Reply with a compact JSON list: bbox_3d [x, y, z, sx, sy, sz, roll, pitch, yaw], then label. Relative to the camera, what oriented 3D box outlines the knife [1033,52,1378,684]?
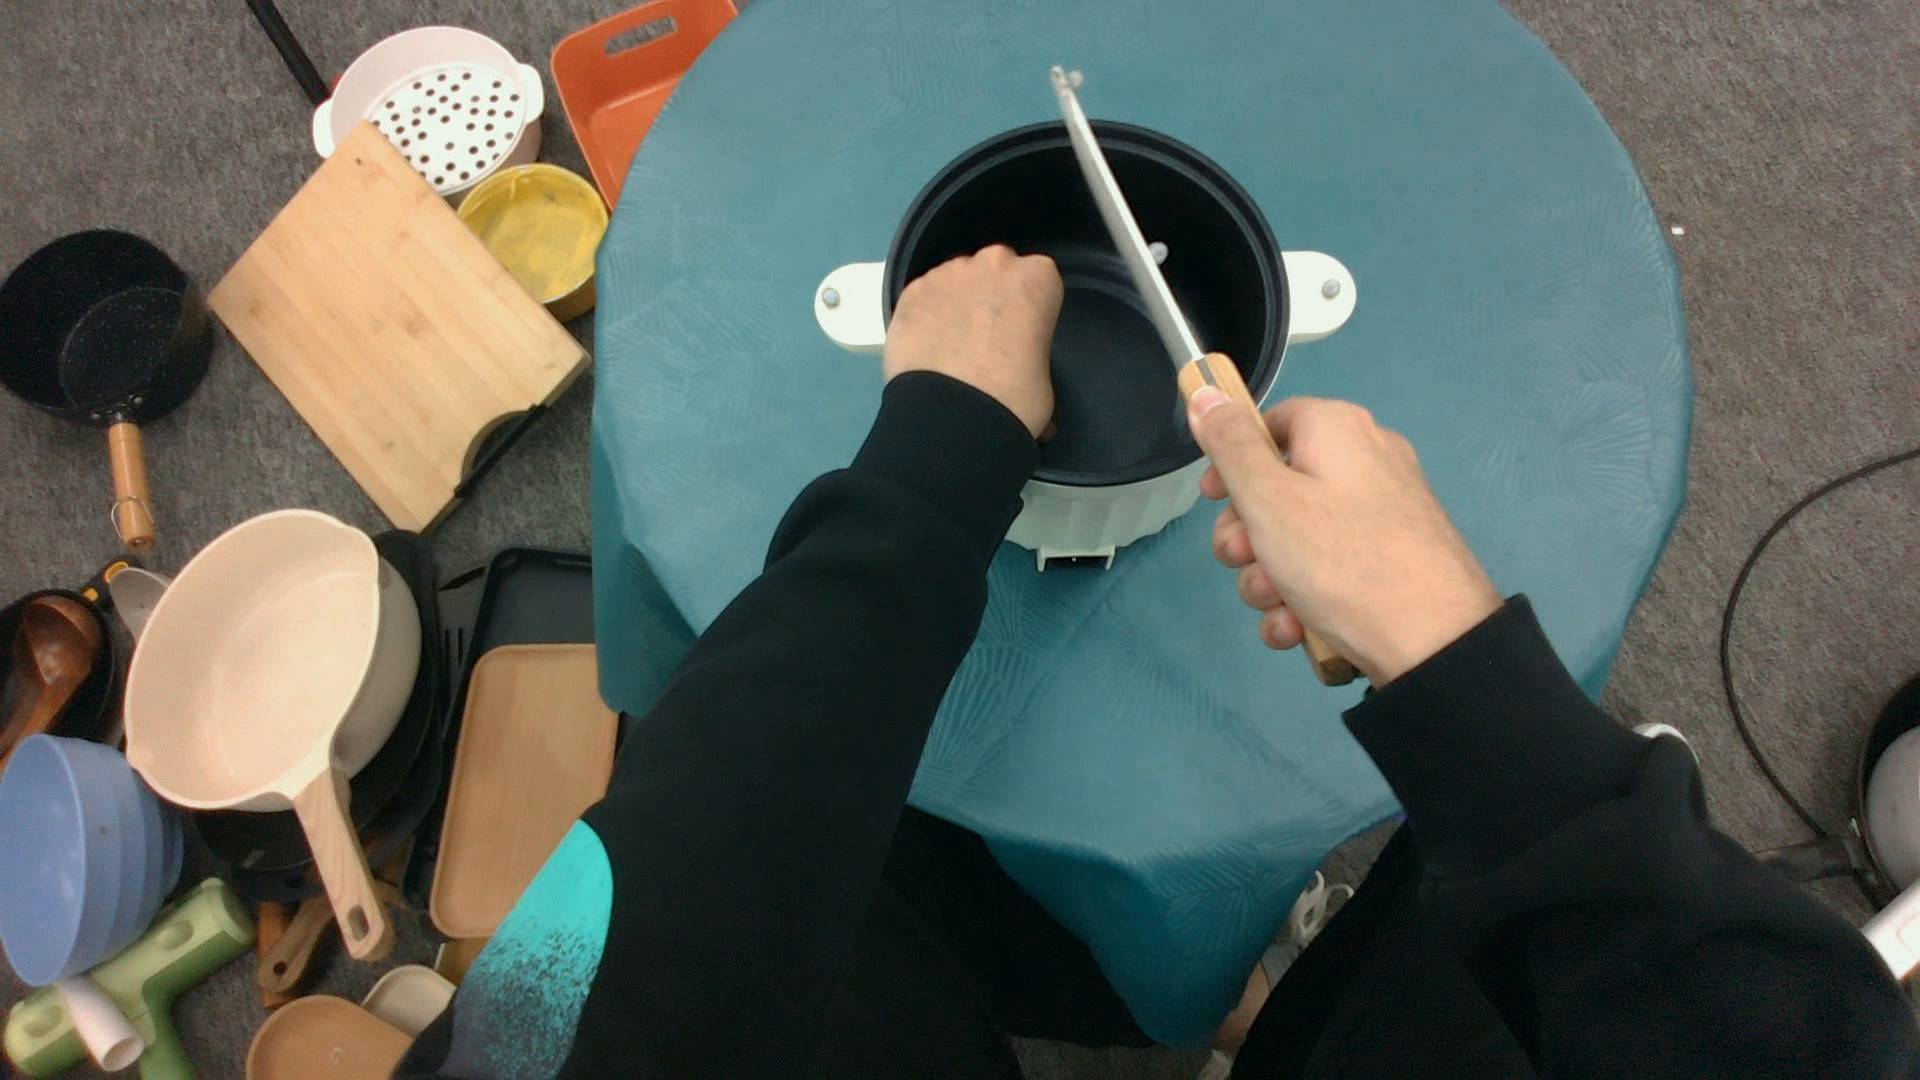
[{"bbox_3d":[0.085,-0.077,0.542,0.022,0.113,0.316,-24,53,6],"label":"knife"}]

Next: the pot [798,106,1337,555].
[{"bbox_3d":[0.046,-0.100,0.672,0.240,0.142,0.191,-2,75,-3],"label":"pot"}]
